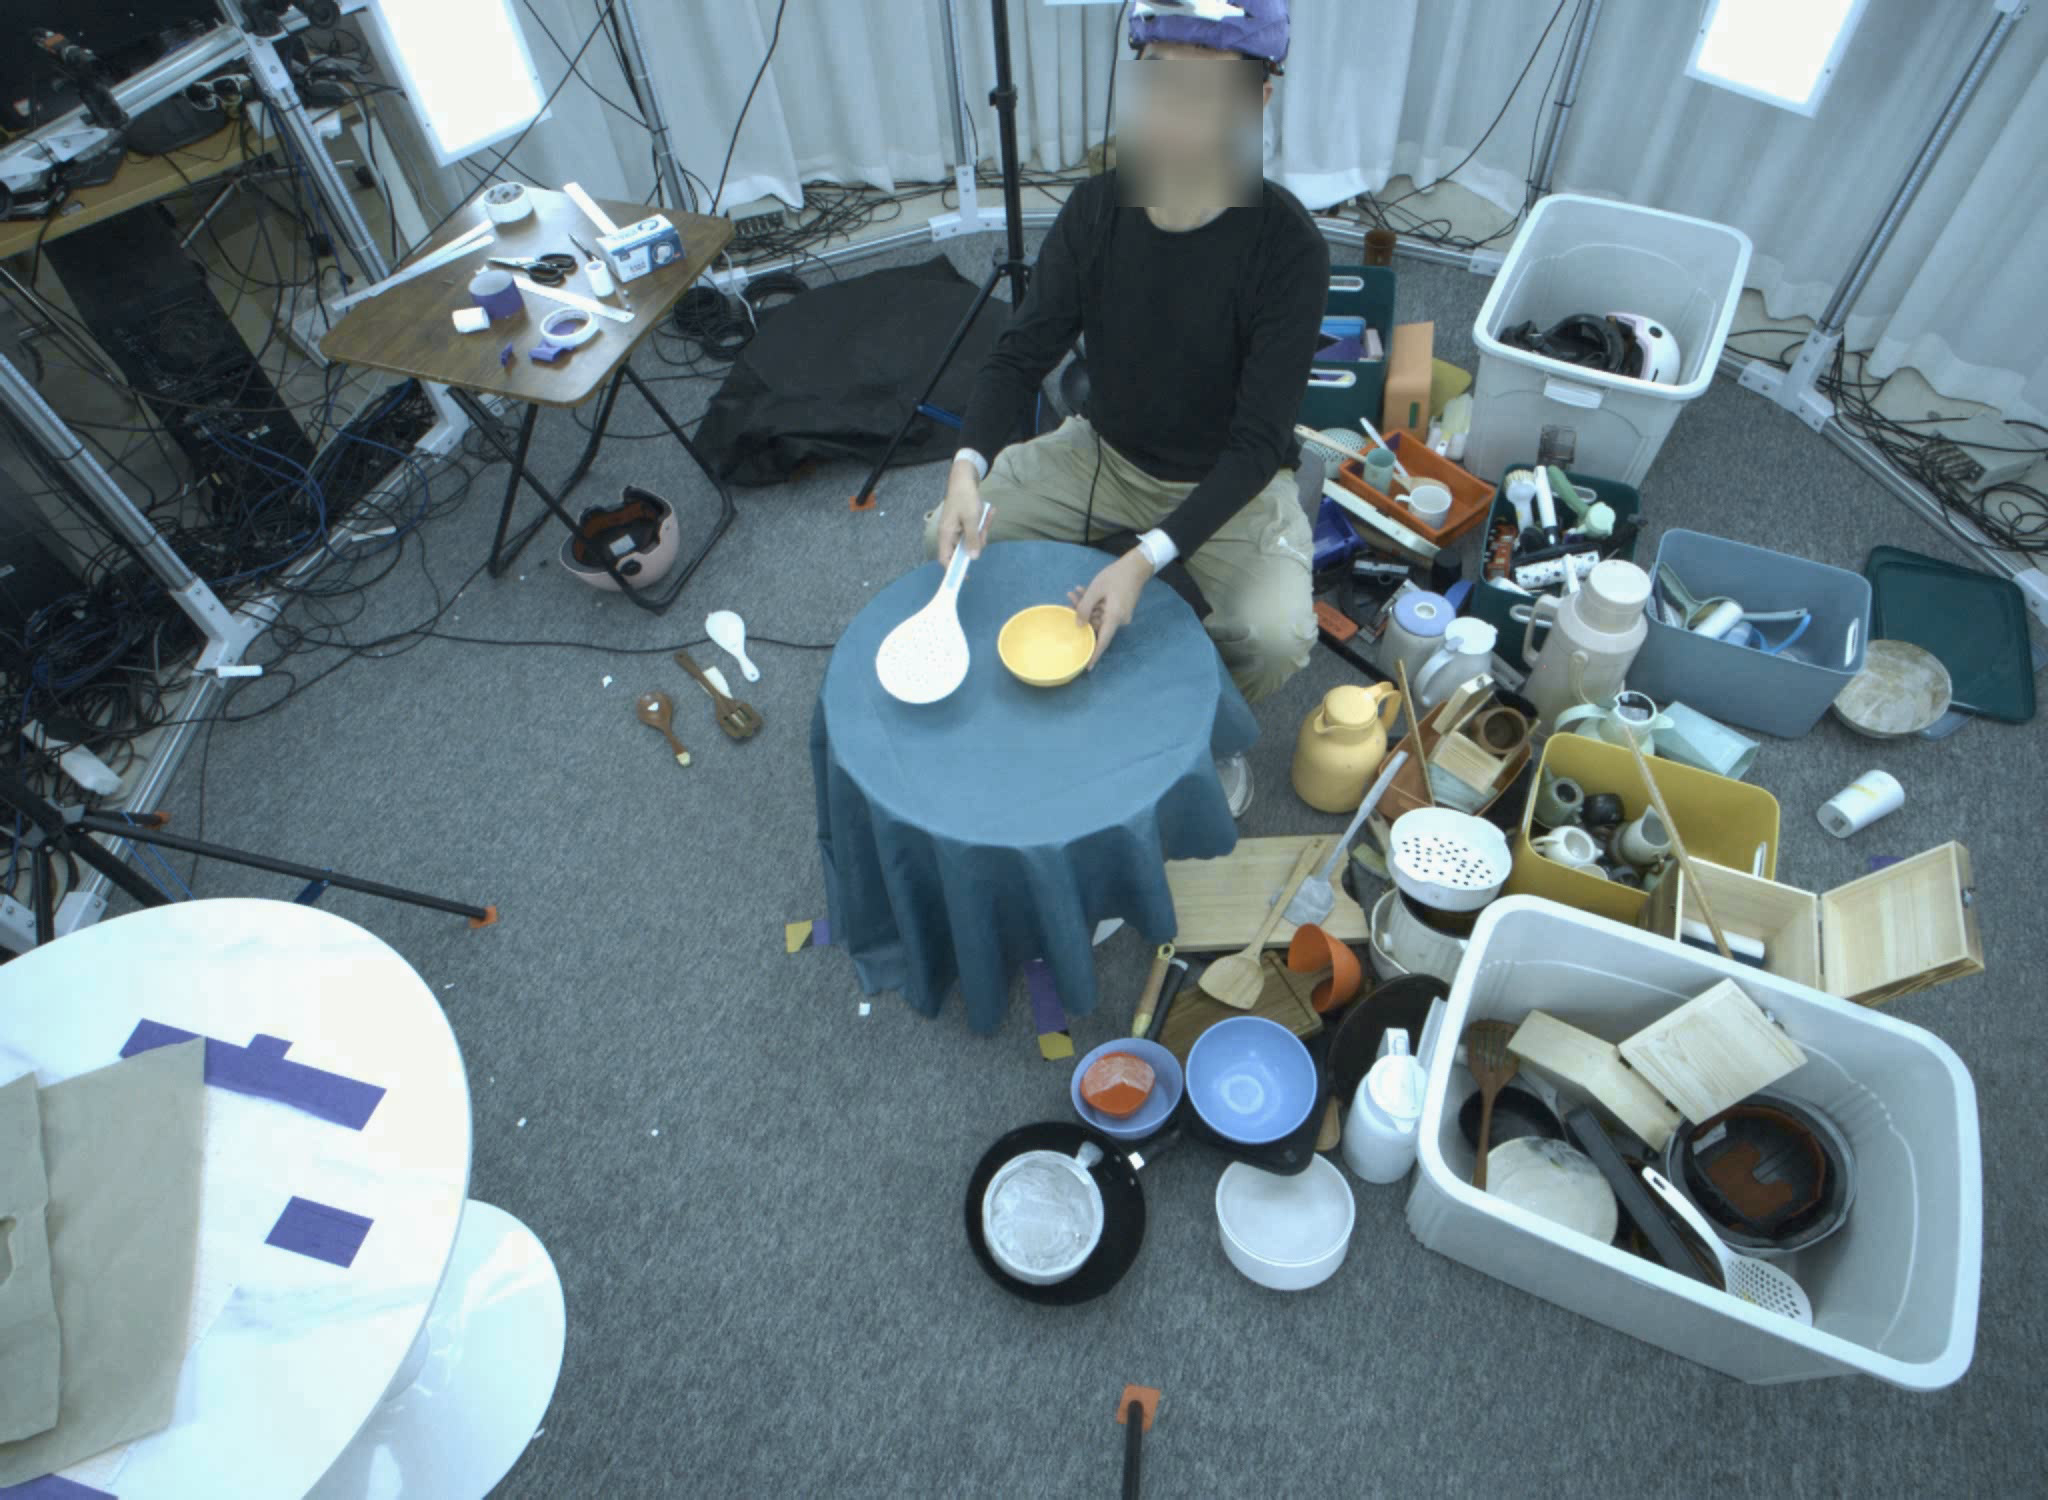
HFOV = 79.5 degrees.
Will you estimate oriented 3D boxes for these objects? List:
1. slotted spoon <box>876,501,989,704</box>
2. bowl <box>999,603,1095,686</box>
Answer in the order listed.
[{"bbox_3d":[-0.121,-0.226,1.851,0.135,0.046,0.349,15,77,10],"label":"slotted spoon"},{"bbox_3d":[0.035,-0.147,1.855,0.145,0.061,0.144,-1,58,2],"label":"bowl"}]
